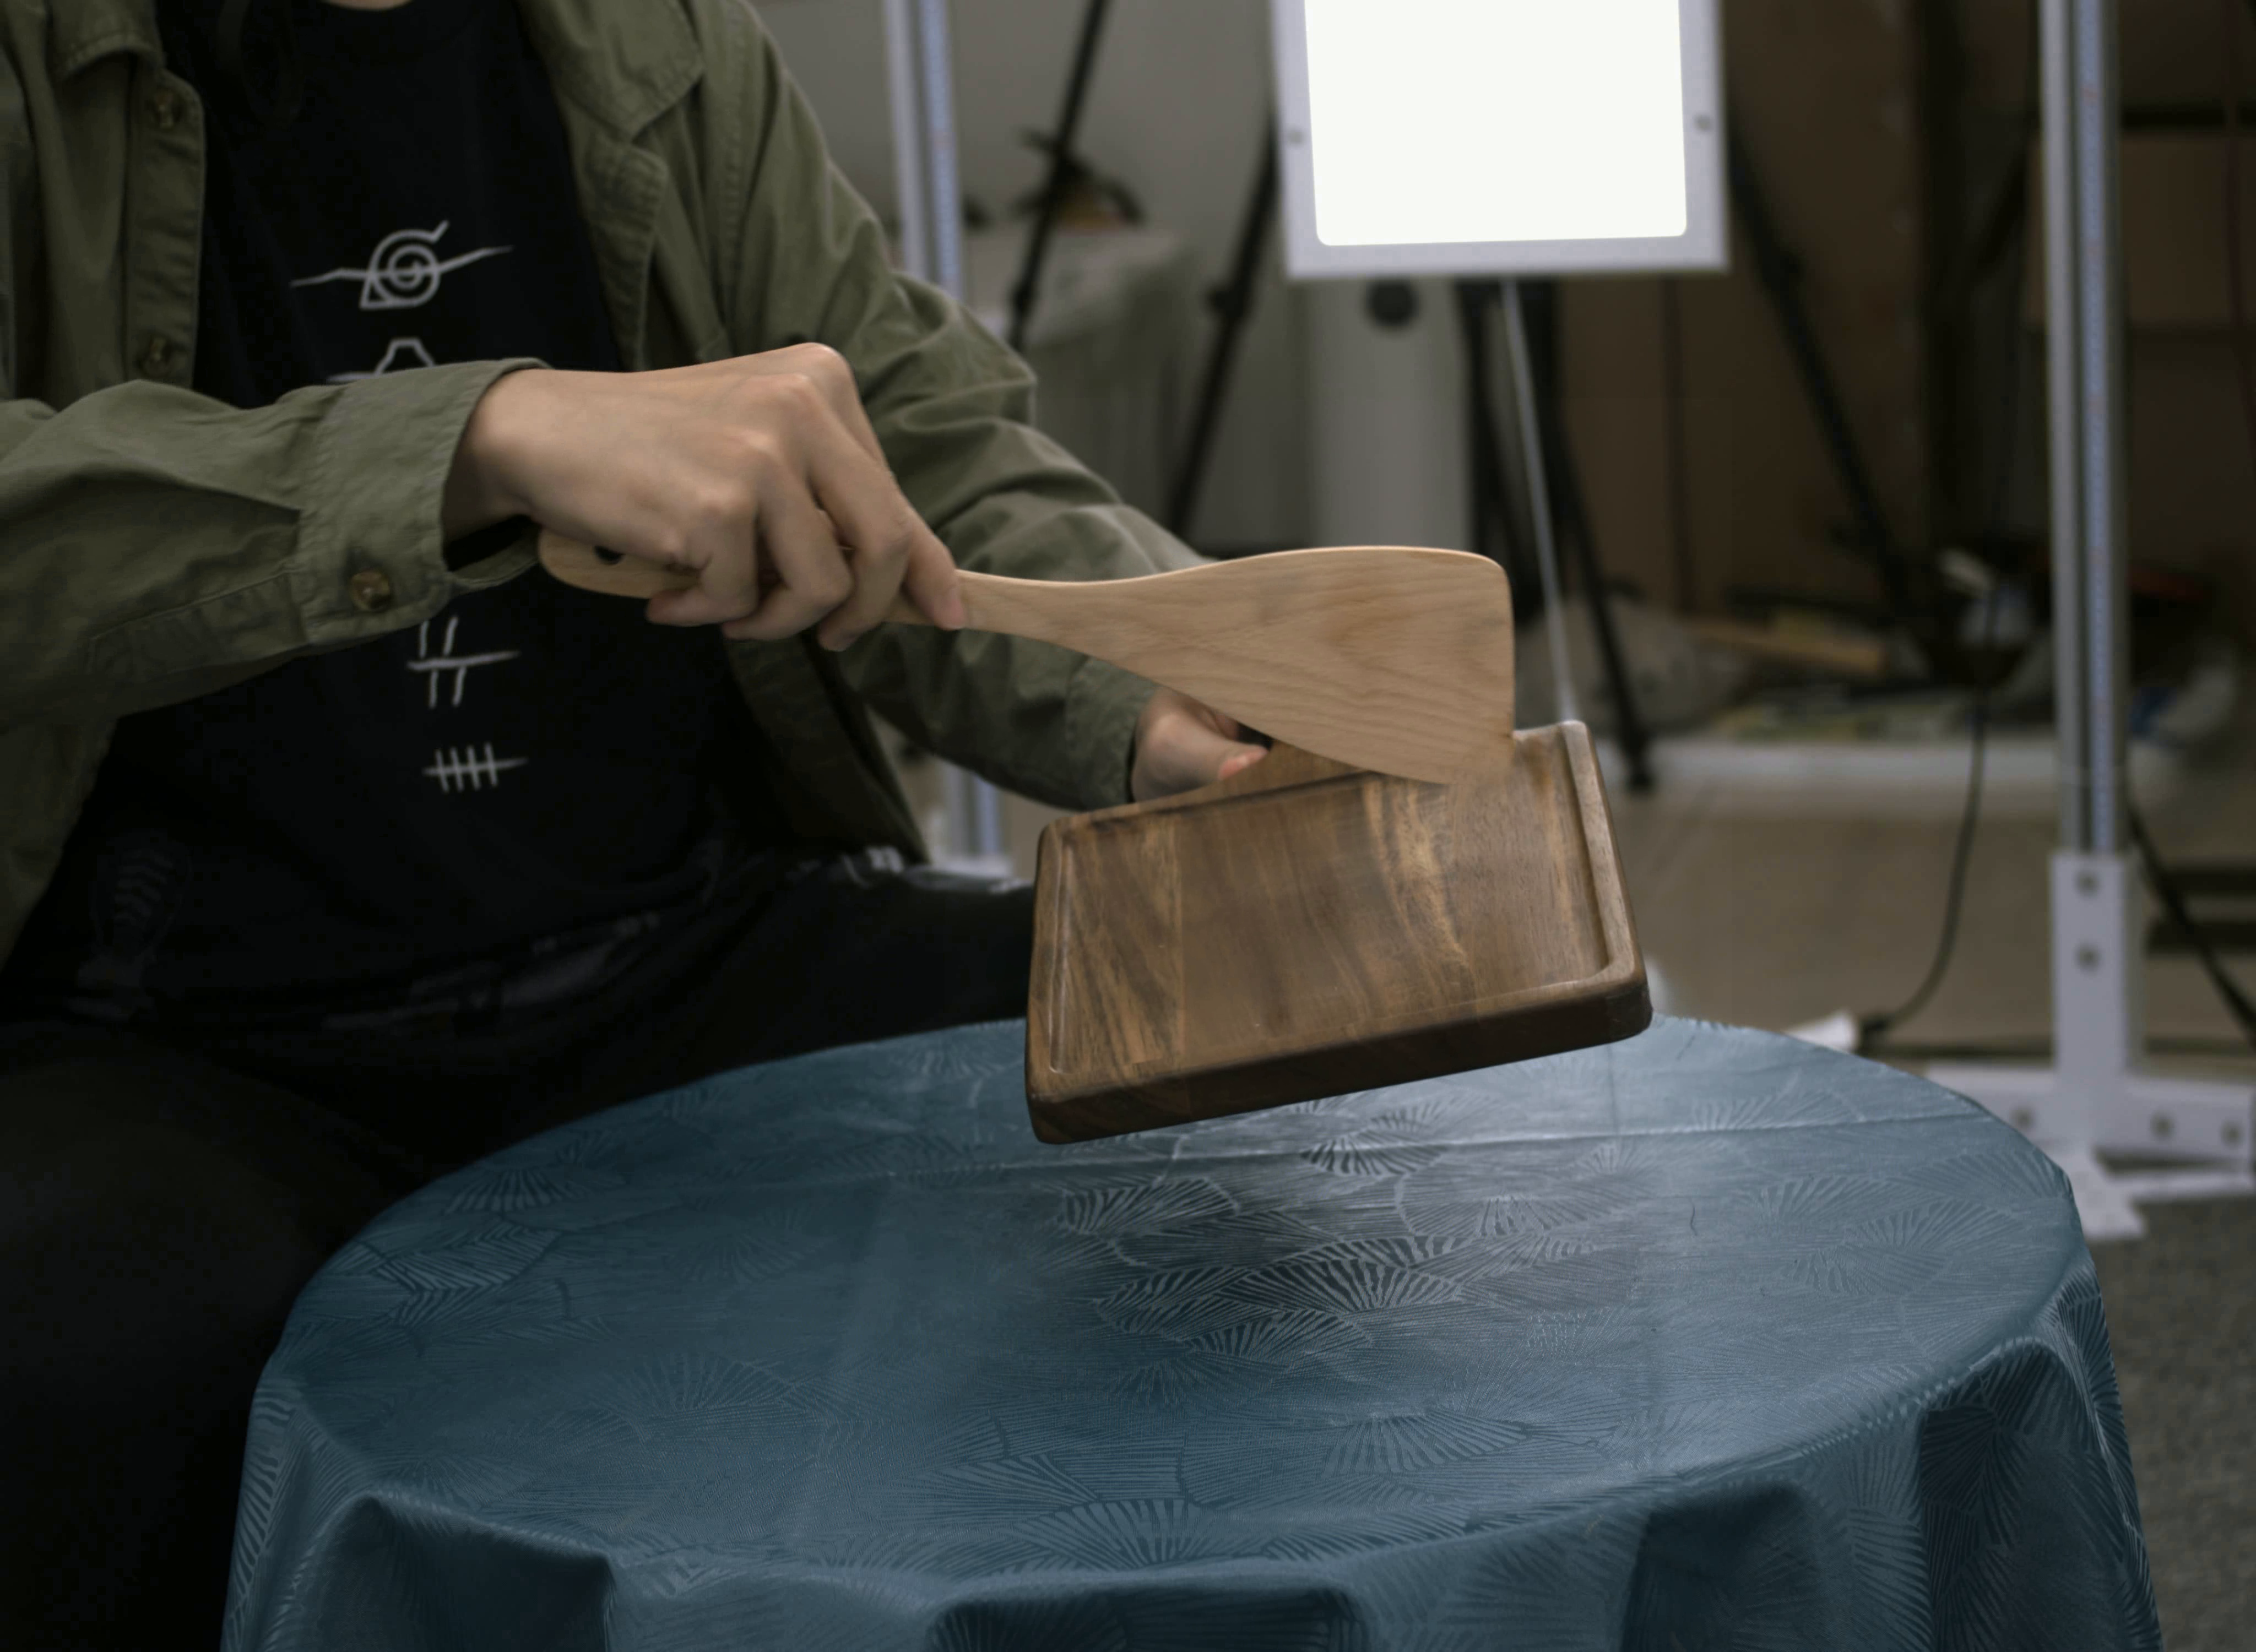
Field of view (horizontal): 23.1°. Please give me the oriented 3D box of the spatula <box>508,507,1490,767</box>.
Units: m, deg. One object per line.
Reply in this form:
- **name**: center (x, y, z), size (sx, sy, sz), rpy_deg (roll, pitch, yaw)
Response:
- **spatula**: center (-0.039, -0.074, 1.793), size (0.325, 0.080, 0.016), rpy_deg (6, 17, -5)

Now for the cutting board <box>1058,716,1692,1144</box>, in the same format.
- **cutting board**: center (0.078, 0.012, 1.845), size (0.202, 0.023, 0.350), rpy_deg (-11, 20, 6)
